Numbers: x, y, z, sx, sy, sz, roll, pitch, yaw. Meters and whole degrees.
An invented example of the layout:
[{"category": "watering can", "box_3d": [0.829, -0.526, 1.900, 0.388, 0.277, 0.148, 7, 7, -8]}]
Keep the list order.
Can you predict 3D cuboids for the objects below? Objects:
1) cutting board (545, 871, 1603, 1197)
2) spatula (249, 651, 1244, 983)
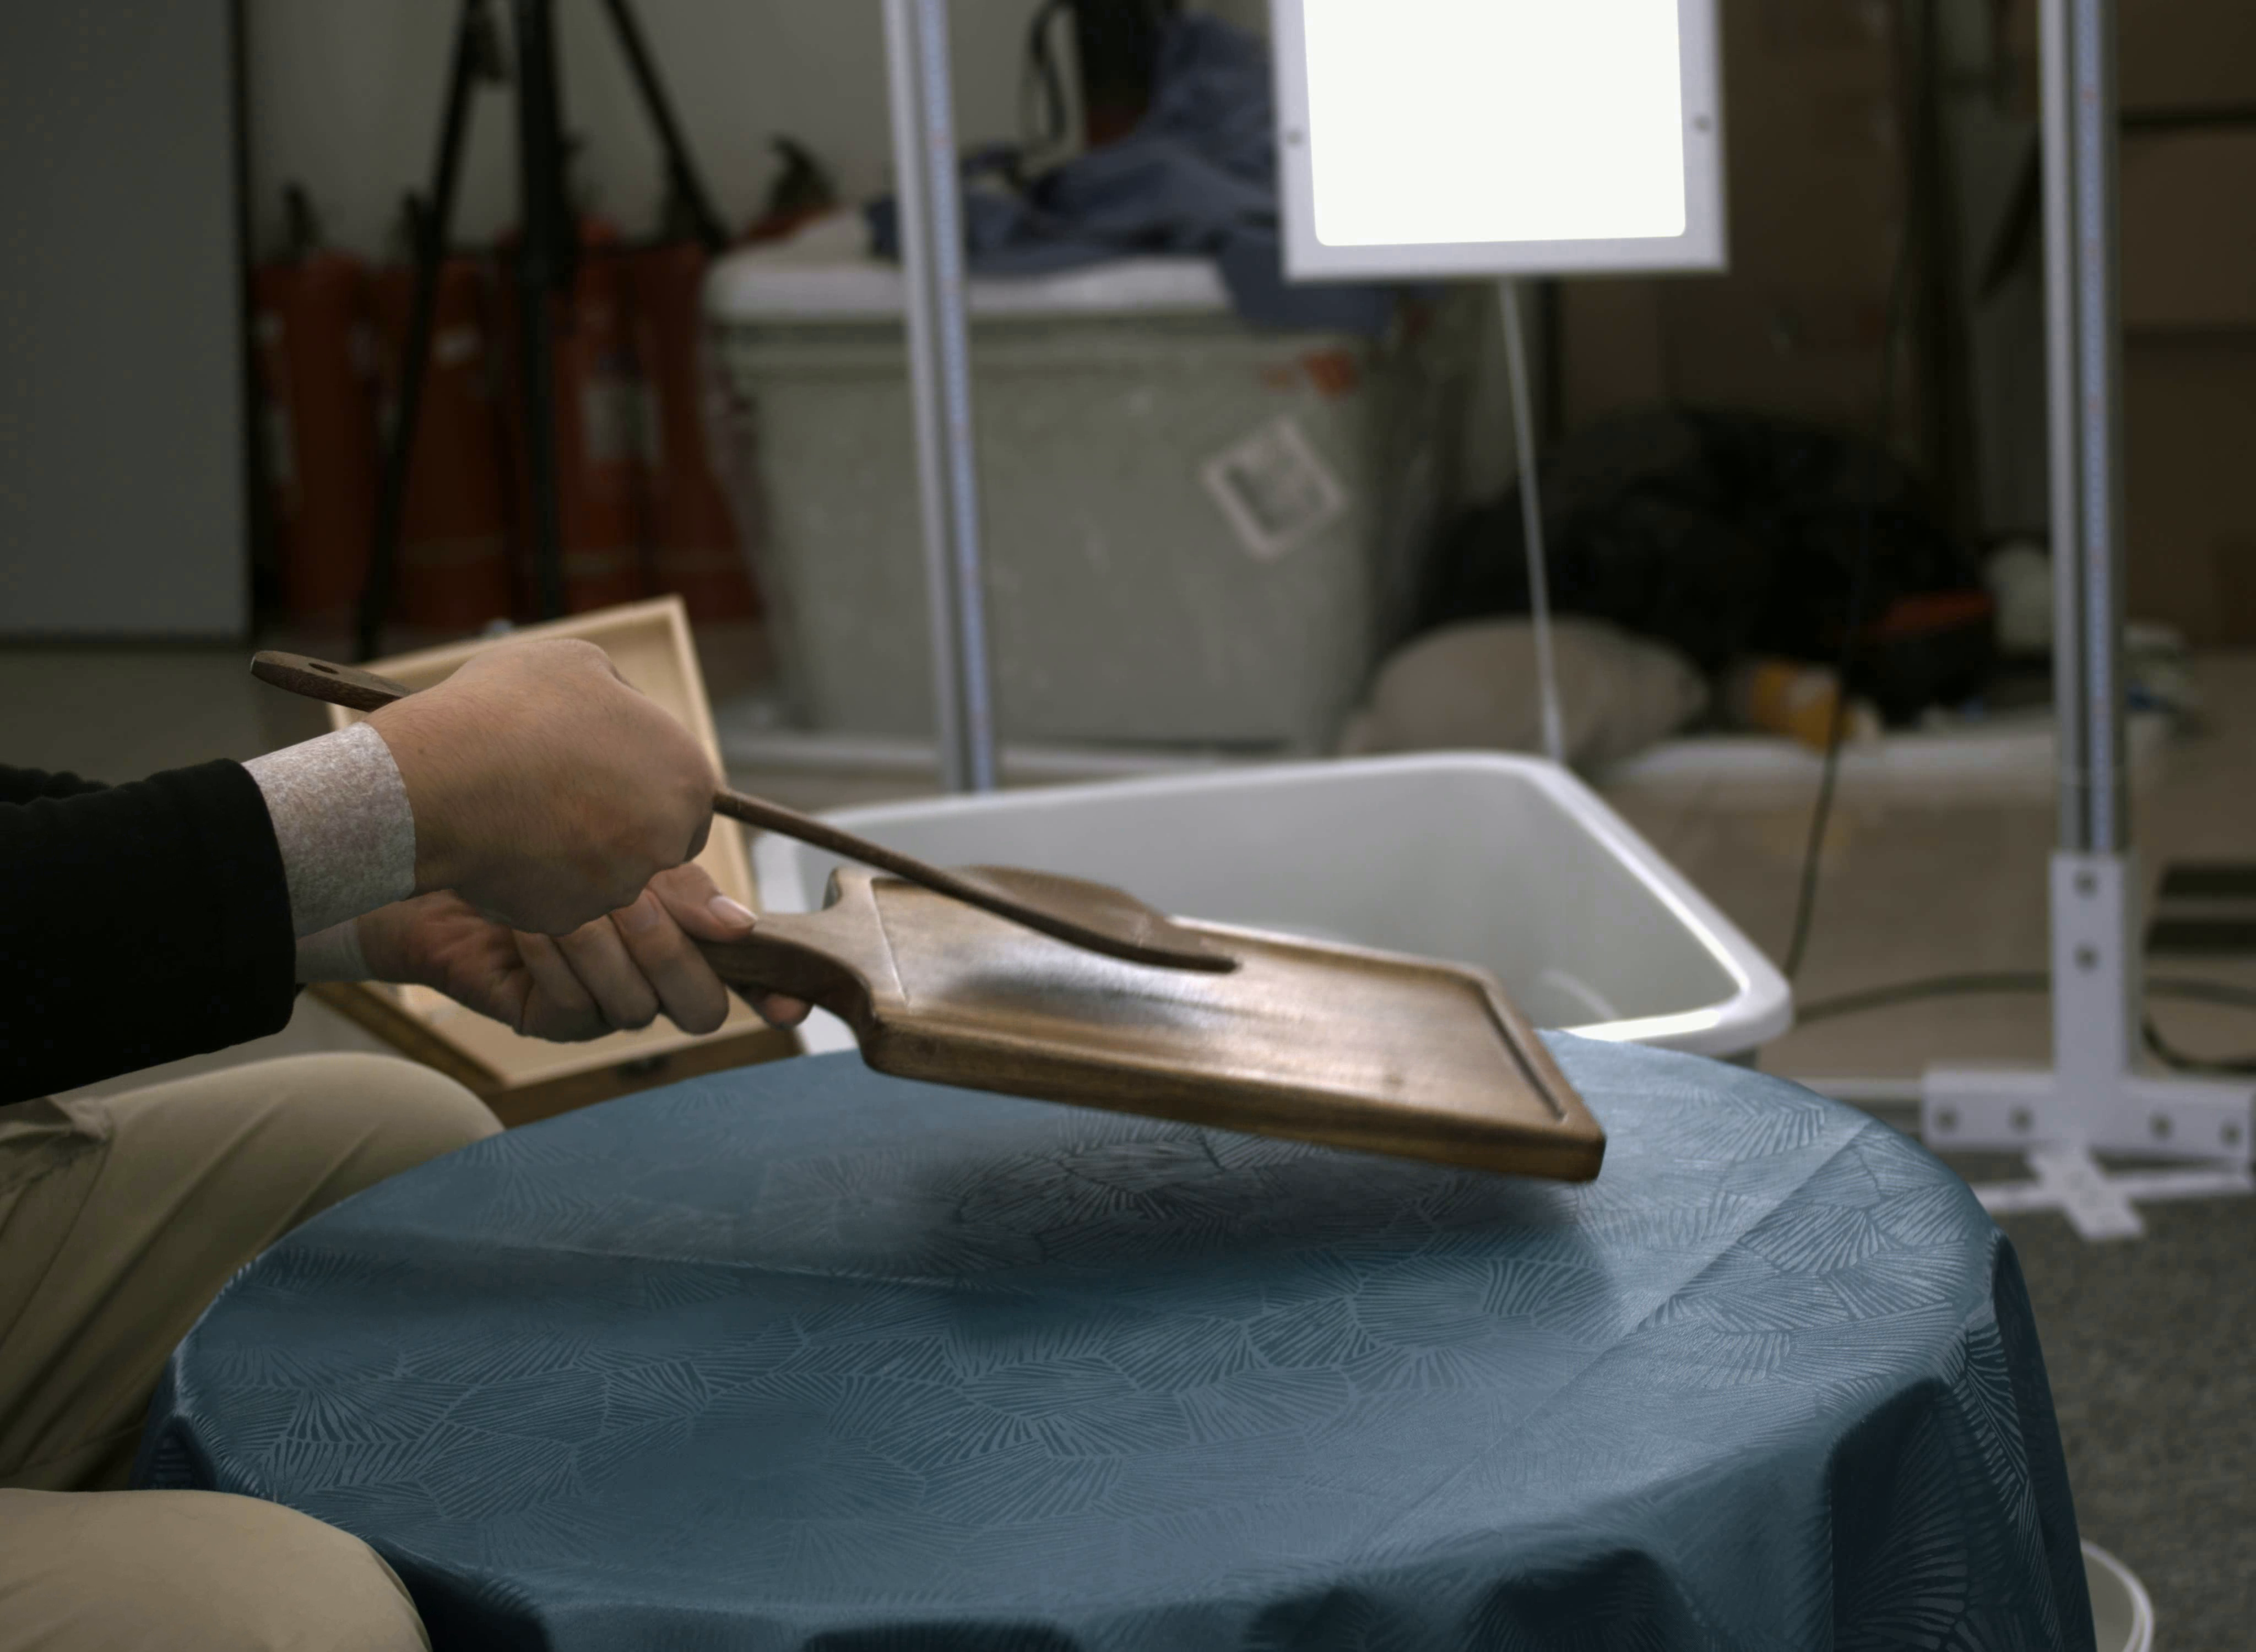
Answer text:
[{"category": "cutting board", "box_3d": [-0.025, 0.061, 1.881, 0.349, 0.023, 0.201, 10, 13, -9]}, {"category": "spatula", "box_3d": [-0.121, -0.002, 1.798, 0.377, 0.016, 0.098, 19, 5, -36]}]
